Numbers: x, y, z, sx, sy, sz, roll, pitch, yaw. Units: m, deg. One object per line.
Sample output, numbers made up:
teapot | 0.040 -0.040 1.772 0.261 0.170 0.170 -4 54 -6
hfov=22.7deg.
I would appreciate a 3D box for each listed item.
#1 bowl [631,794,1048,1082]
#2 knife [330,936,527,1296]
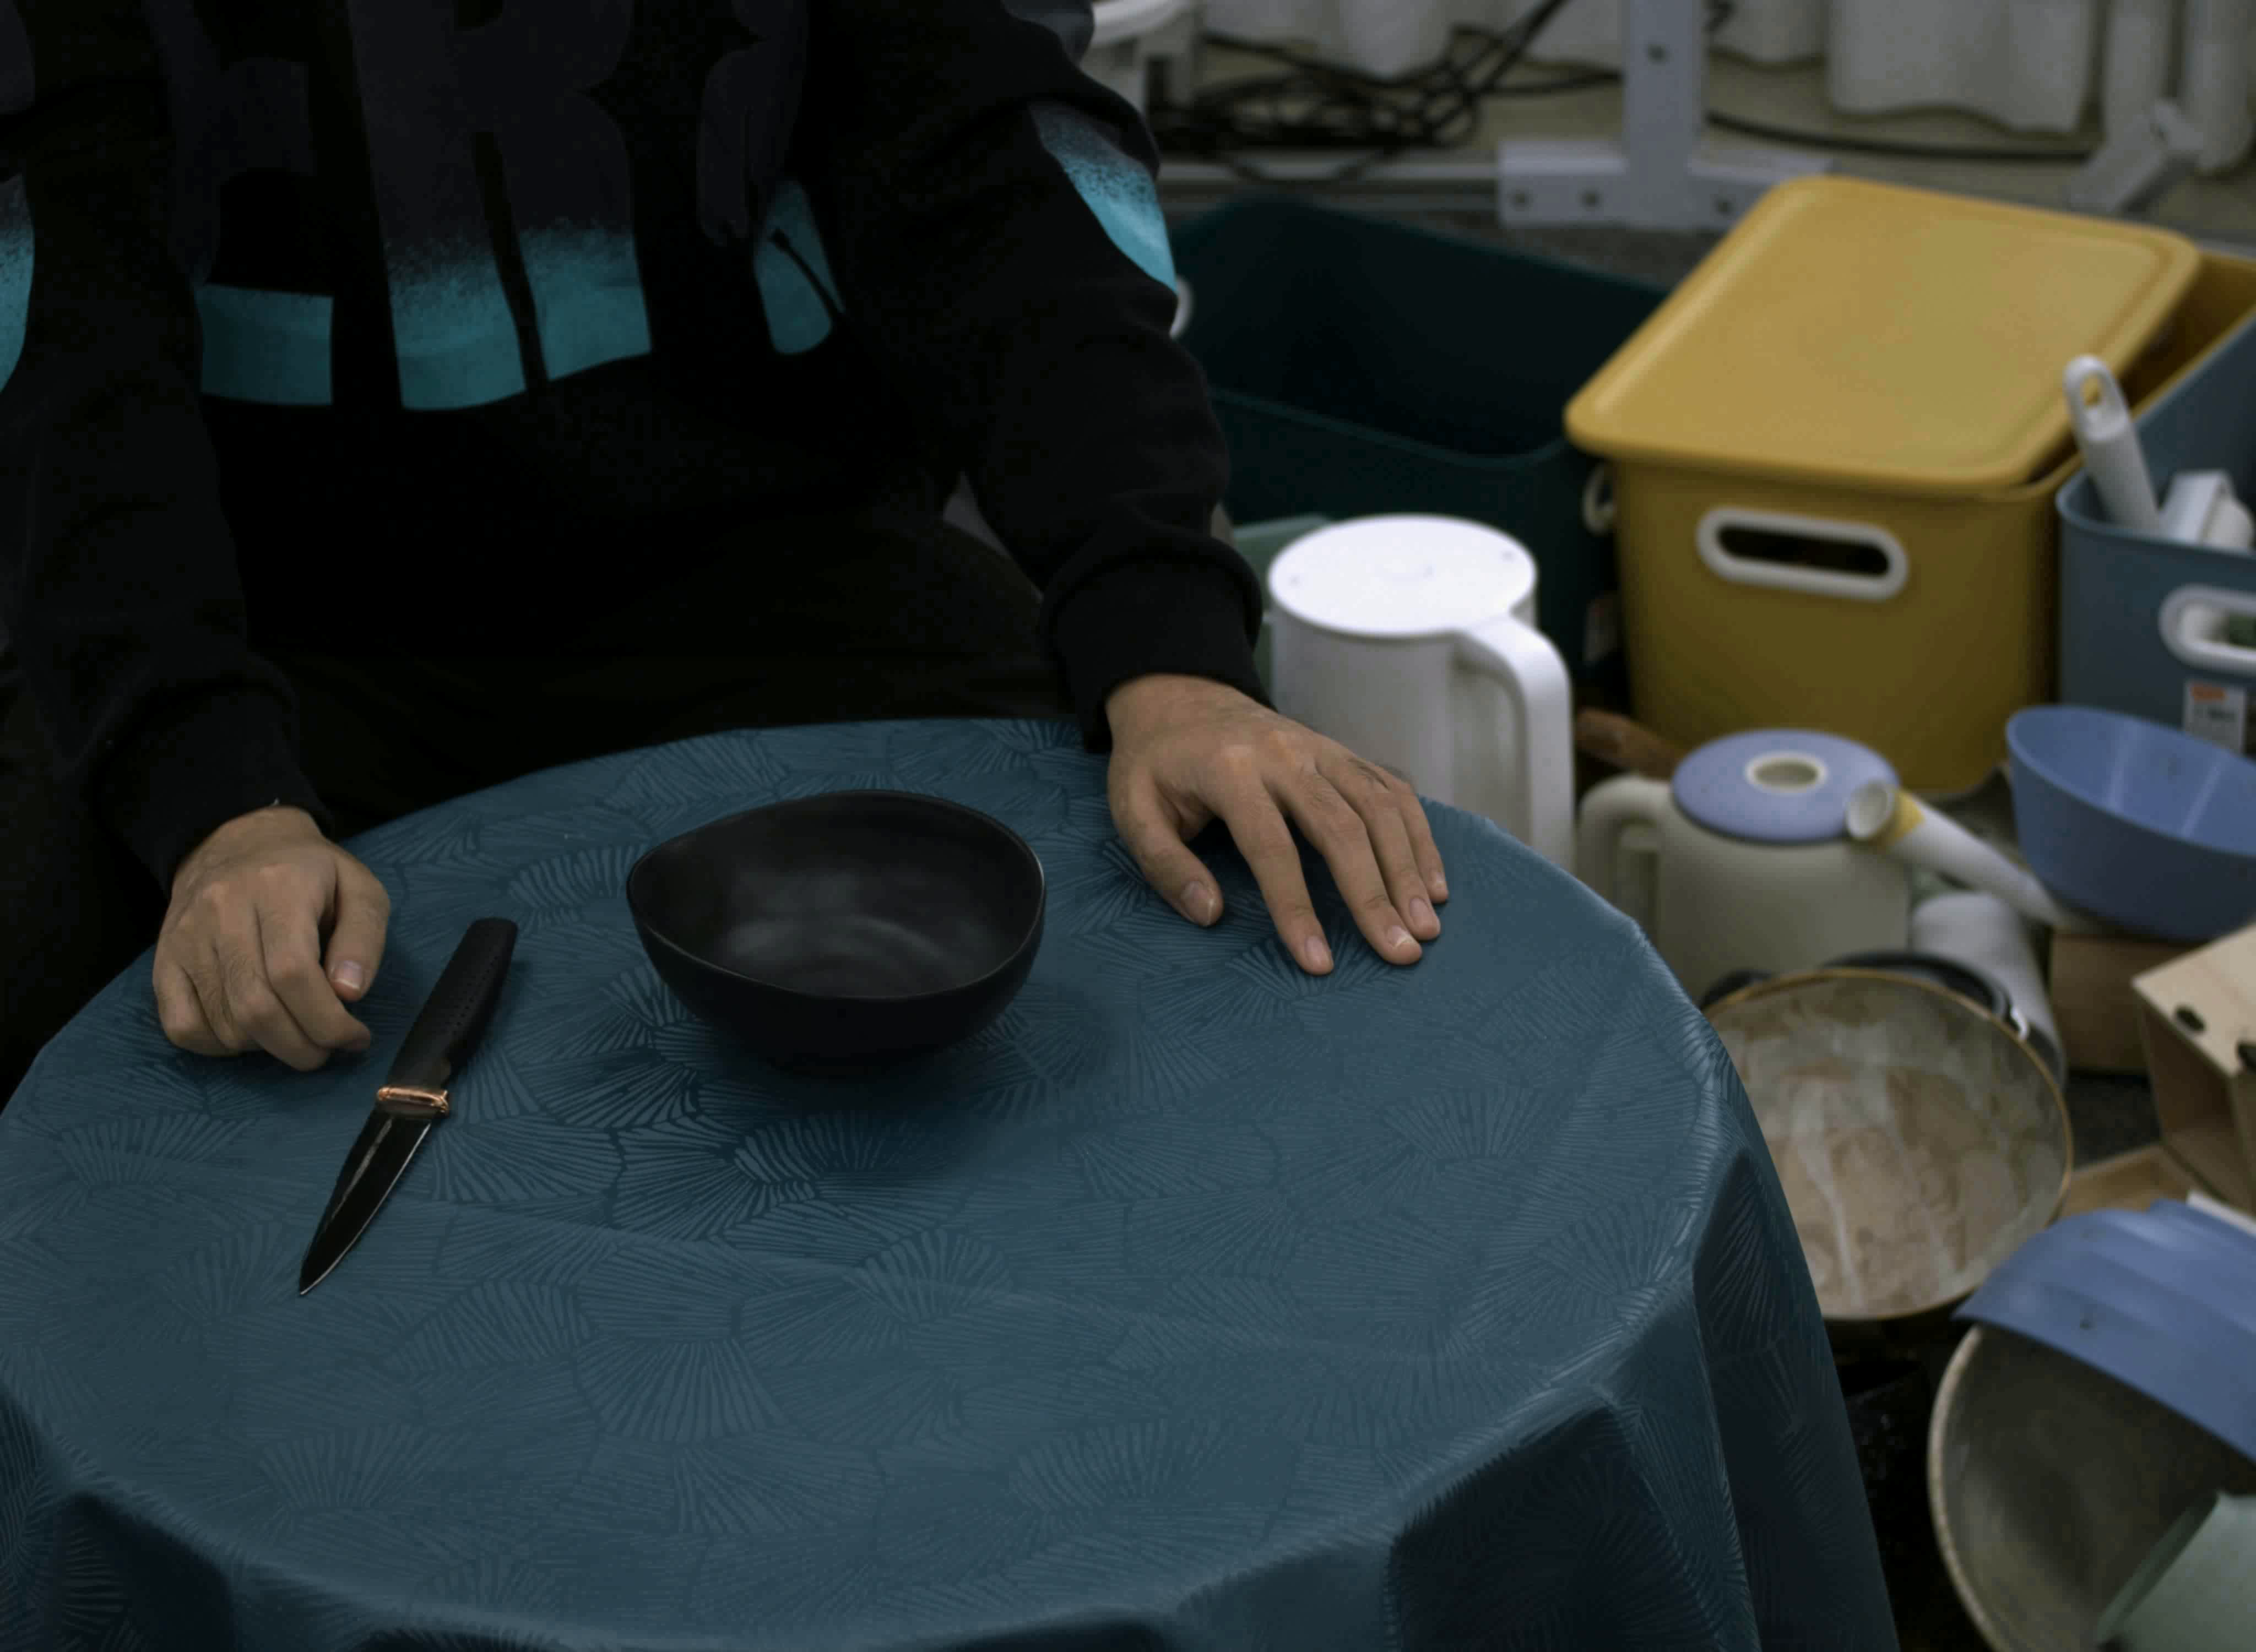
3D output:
bowl | -0.100 0.046 1.948 0.138 0.066 0.170 -20 30 -30
knife | -0.242 0.098 1.919 0.026 0.017 0.229 -1 28 12
